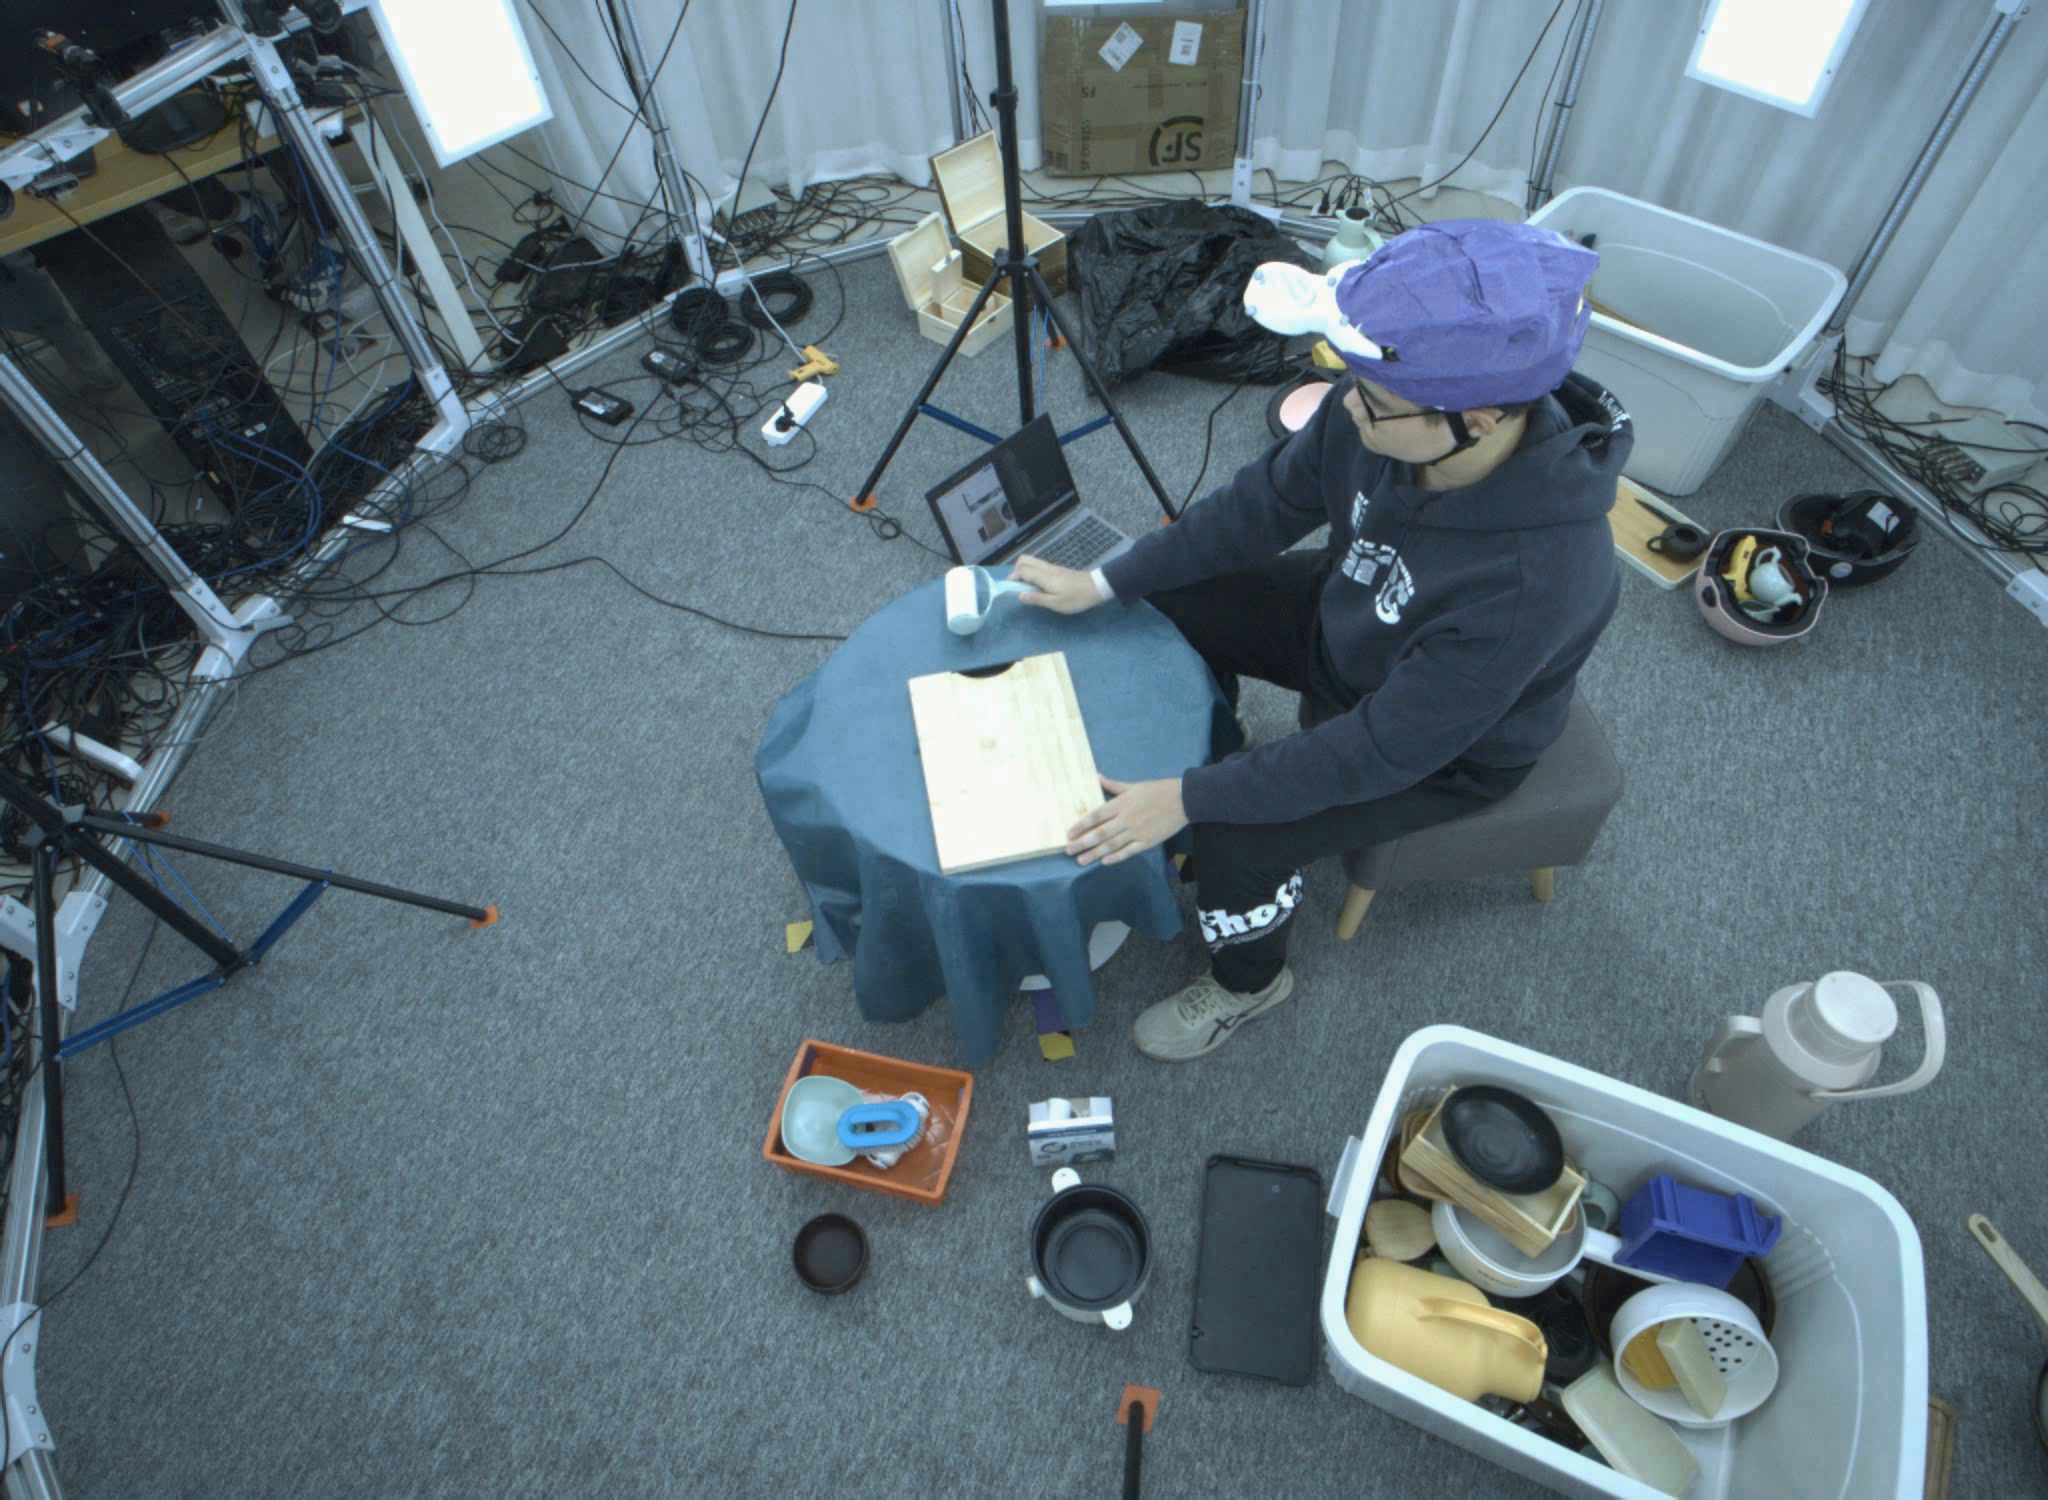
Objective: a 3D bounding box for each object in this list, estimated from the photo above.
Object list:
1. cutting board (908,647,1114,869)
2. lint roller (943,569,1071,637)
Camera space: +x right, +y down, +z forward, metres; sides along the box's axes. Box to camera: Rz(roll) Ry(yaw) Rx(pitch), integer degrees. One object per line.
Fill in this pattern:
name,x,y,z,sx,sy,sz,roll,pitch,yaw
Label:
cutting board,-0.026,0.006,1.775,0.252,0.024,0.343,-10,55,-6
lint roller,-0.025,-0.235,1.905,0.198,0.049,0.115,-6,51,-3
